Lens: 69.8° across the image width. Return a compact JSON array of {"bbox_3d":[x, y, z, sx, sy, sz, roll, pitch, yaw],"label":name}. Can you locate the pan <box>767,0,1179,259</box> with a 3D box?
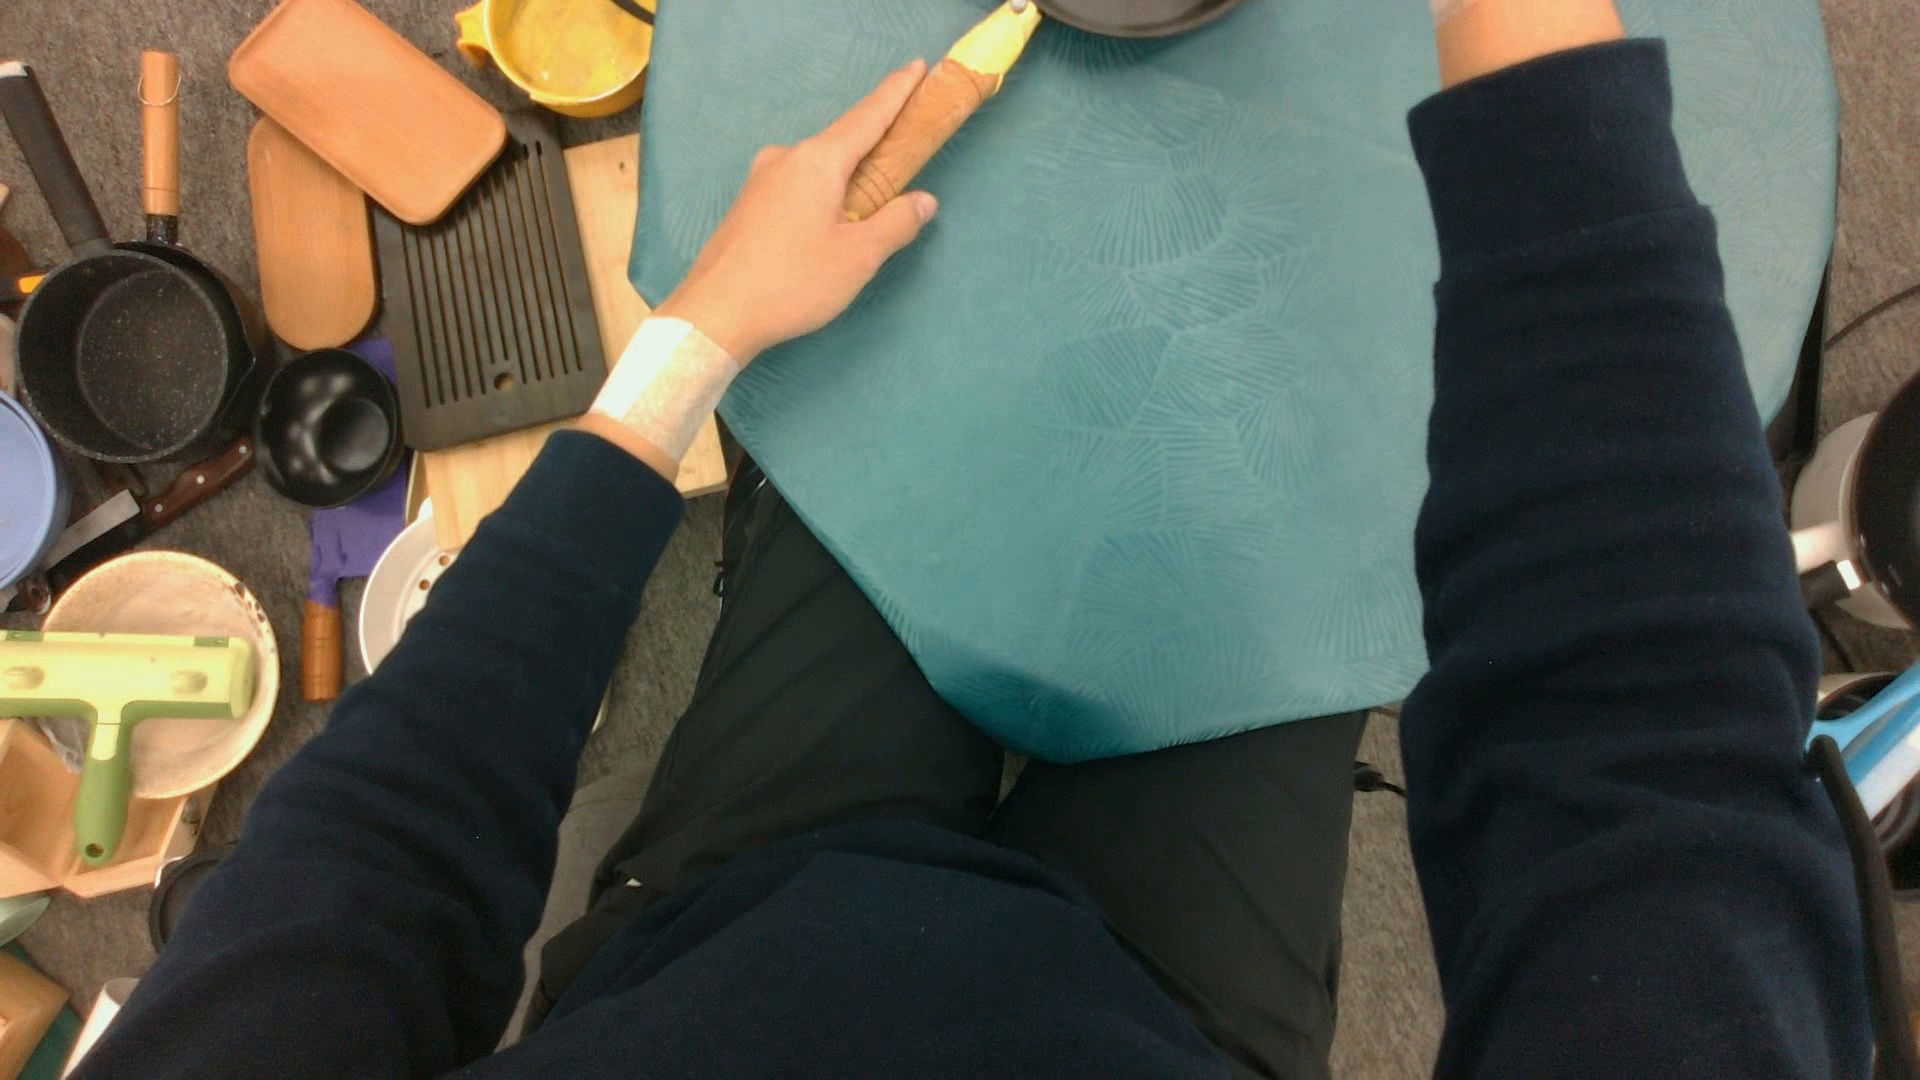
[{"bbox_3d":[0.013,-0.262,0.661,0.169,0.049,0.324,39,85,0],"label":"pan"}]
